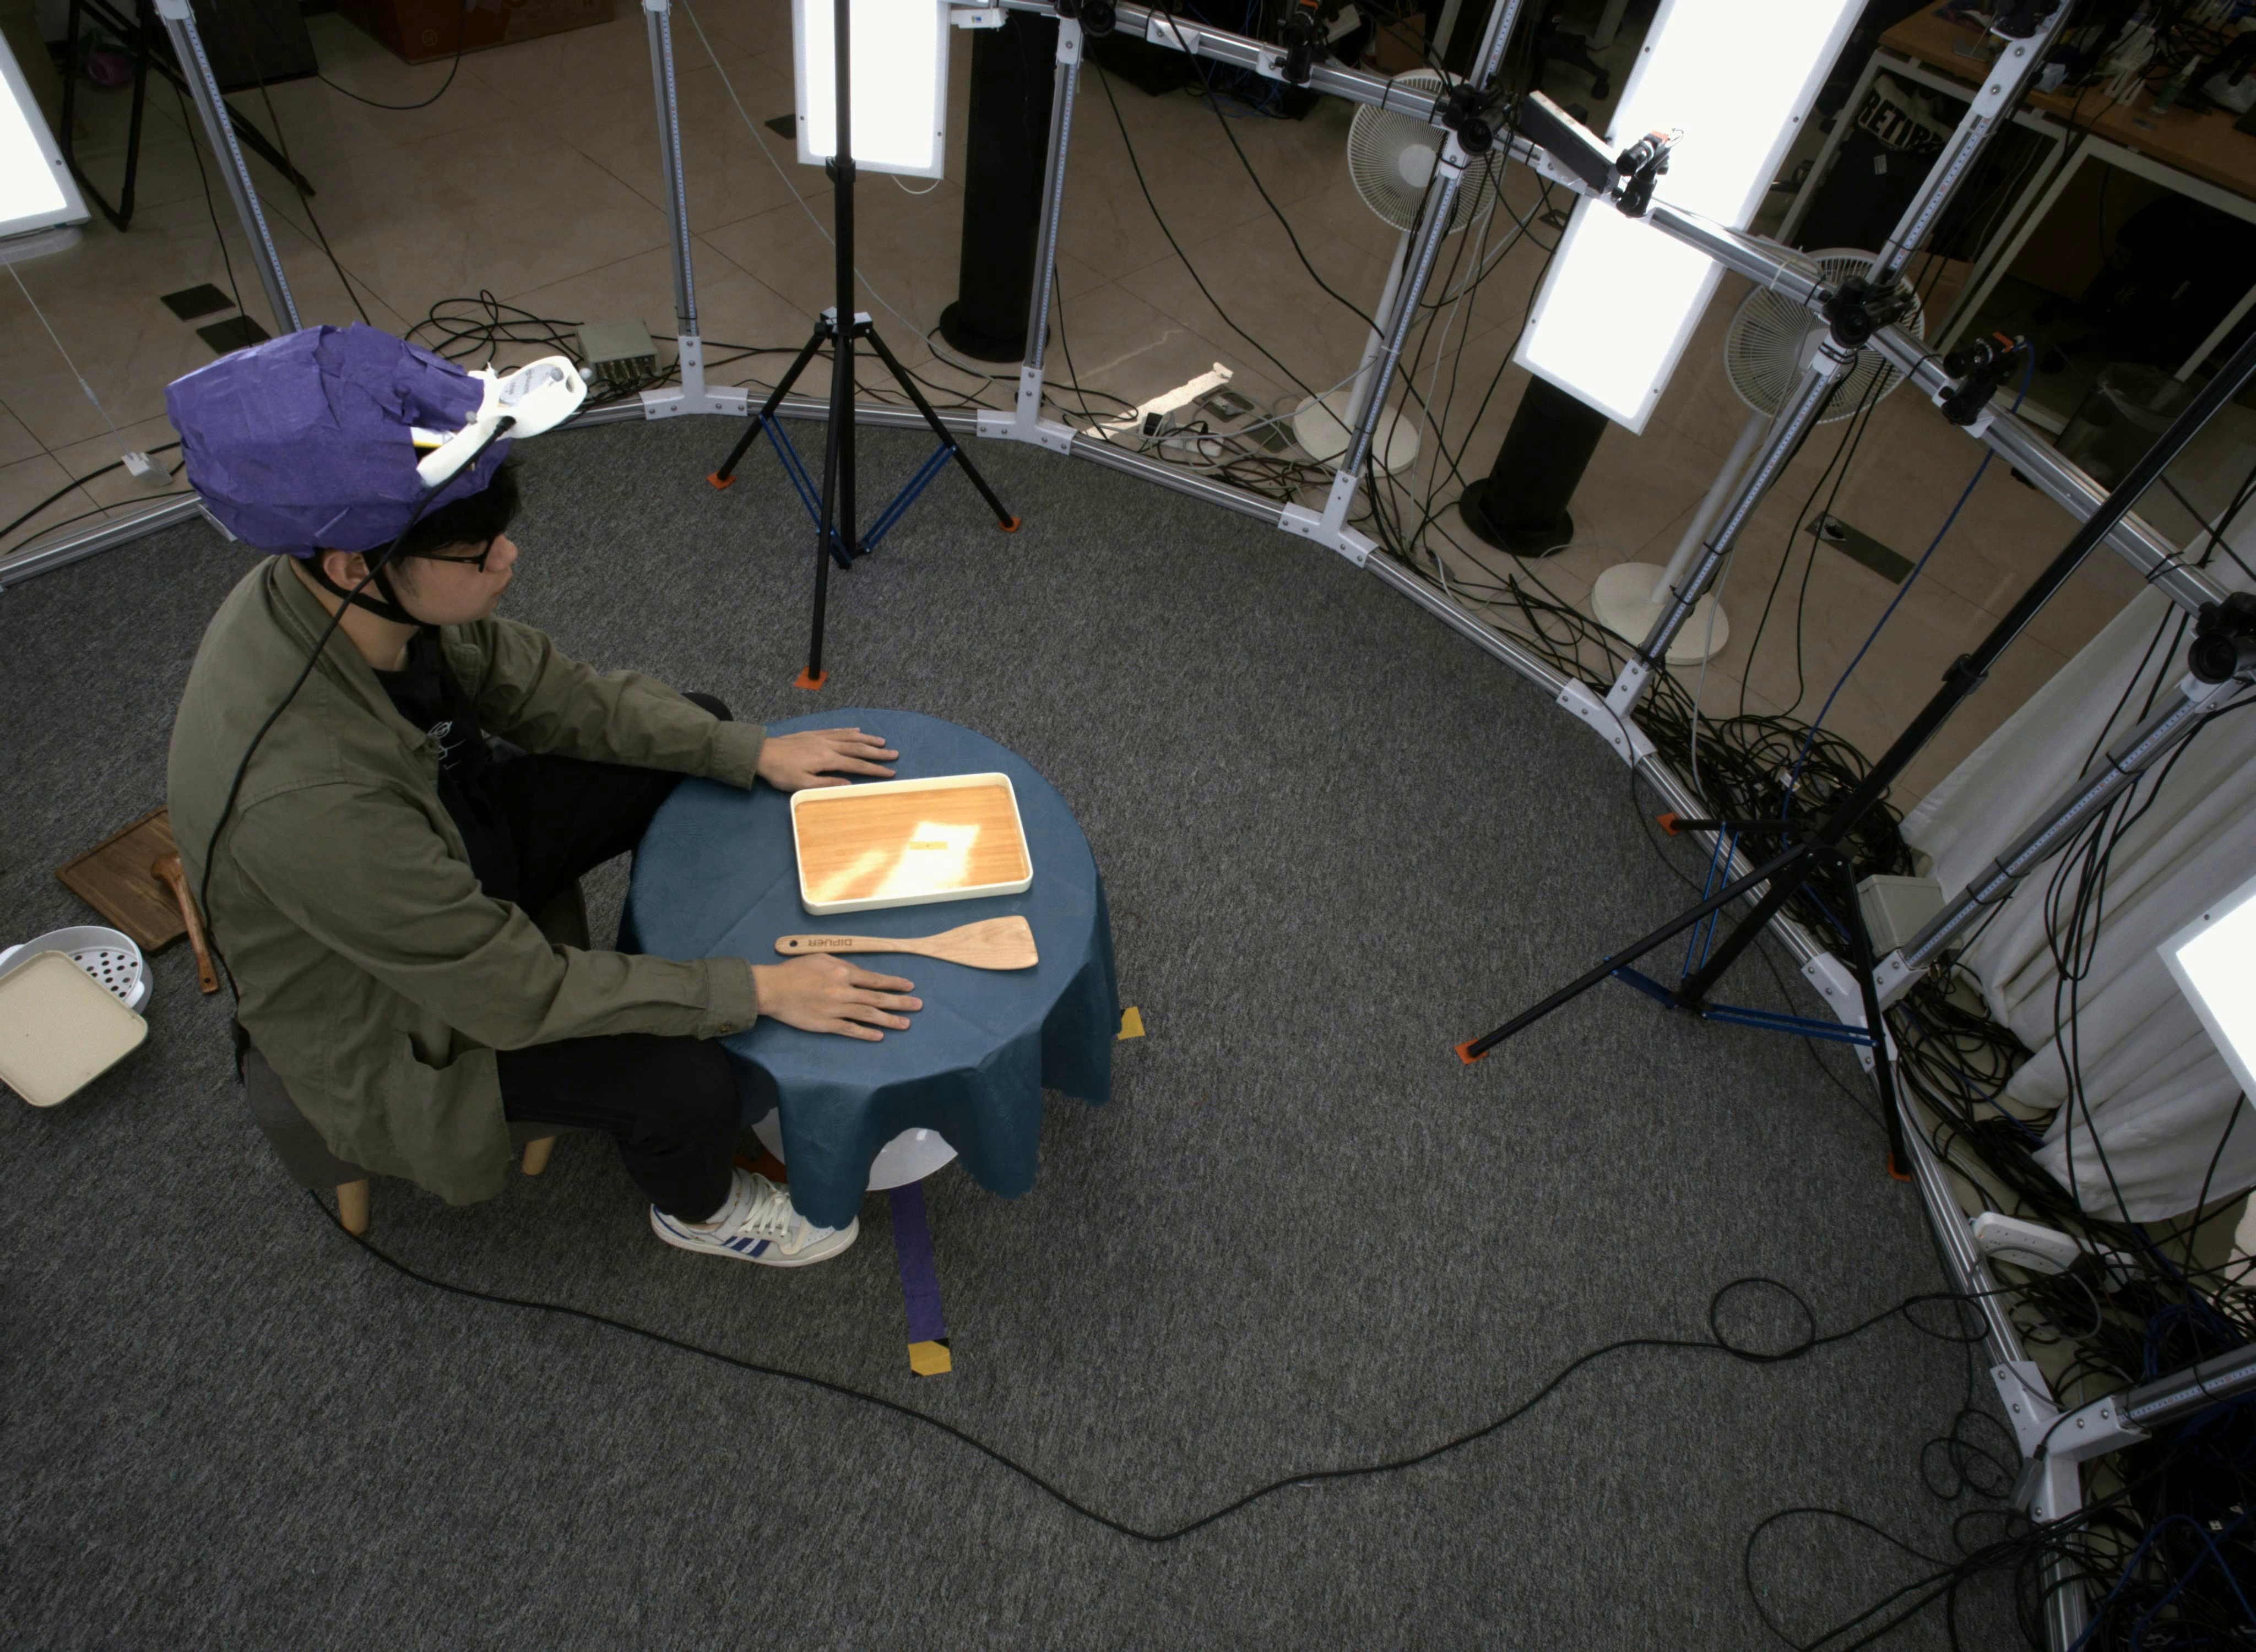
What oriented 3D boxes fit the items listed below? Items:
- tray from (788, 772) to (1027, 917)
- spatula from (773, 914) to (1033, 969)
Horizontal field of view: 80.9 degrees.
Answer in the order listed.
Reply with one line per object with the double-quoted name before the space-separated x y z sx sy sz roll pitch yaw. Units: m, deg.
"tray" -0.295 0.020 1.738 0.301 0.028 0.187 -6 55 -16
"spatula" -0.285 0.148 1.654 0.328 0.017 0.078 0 54 -14
